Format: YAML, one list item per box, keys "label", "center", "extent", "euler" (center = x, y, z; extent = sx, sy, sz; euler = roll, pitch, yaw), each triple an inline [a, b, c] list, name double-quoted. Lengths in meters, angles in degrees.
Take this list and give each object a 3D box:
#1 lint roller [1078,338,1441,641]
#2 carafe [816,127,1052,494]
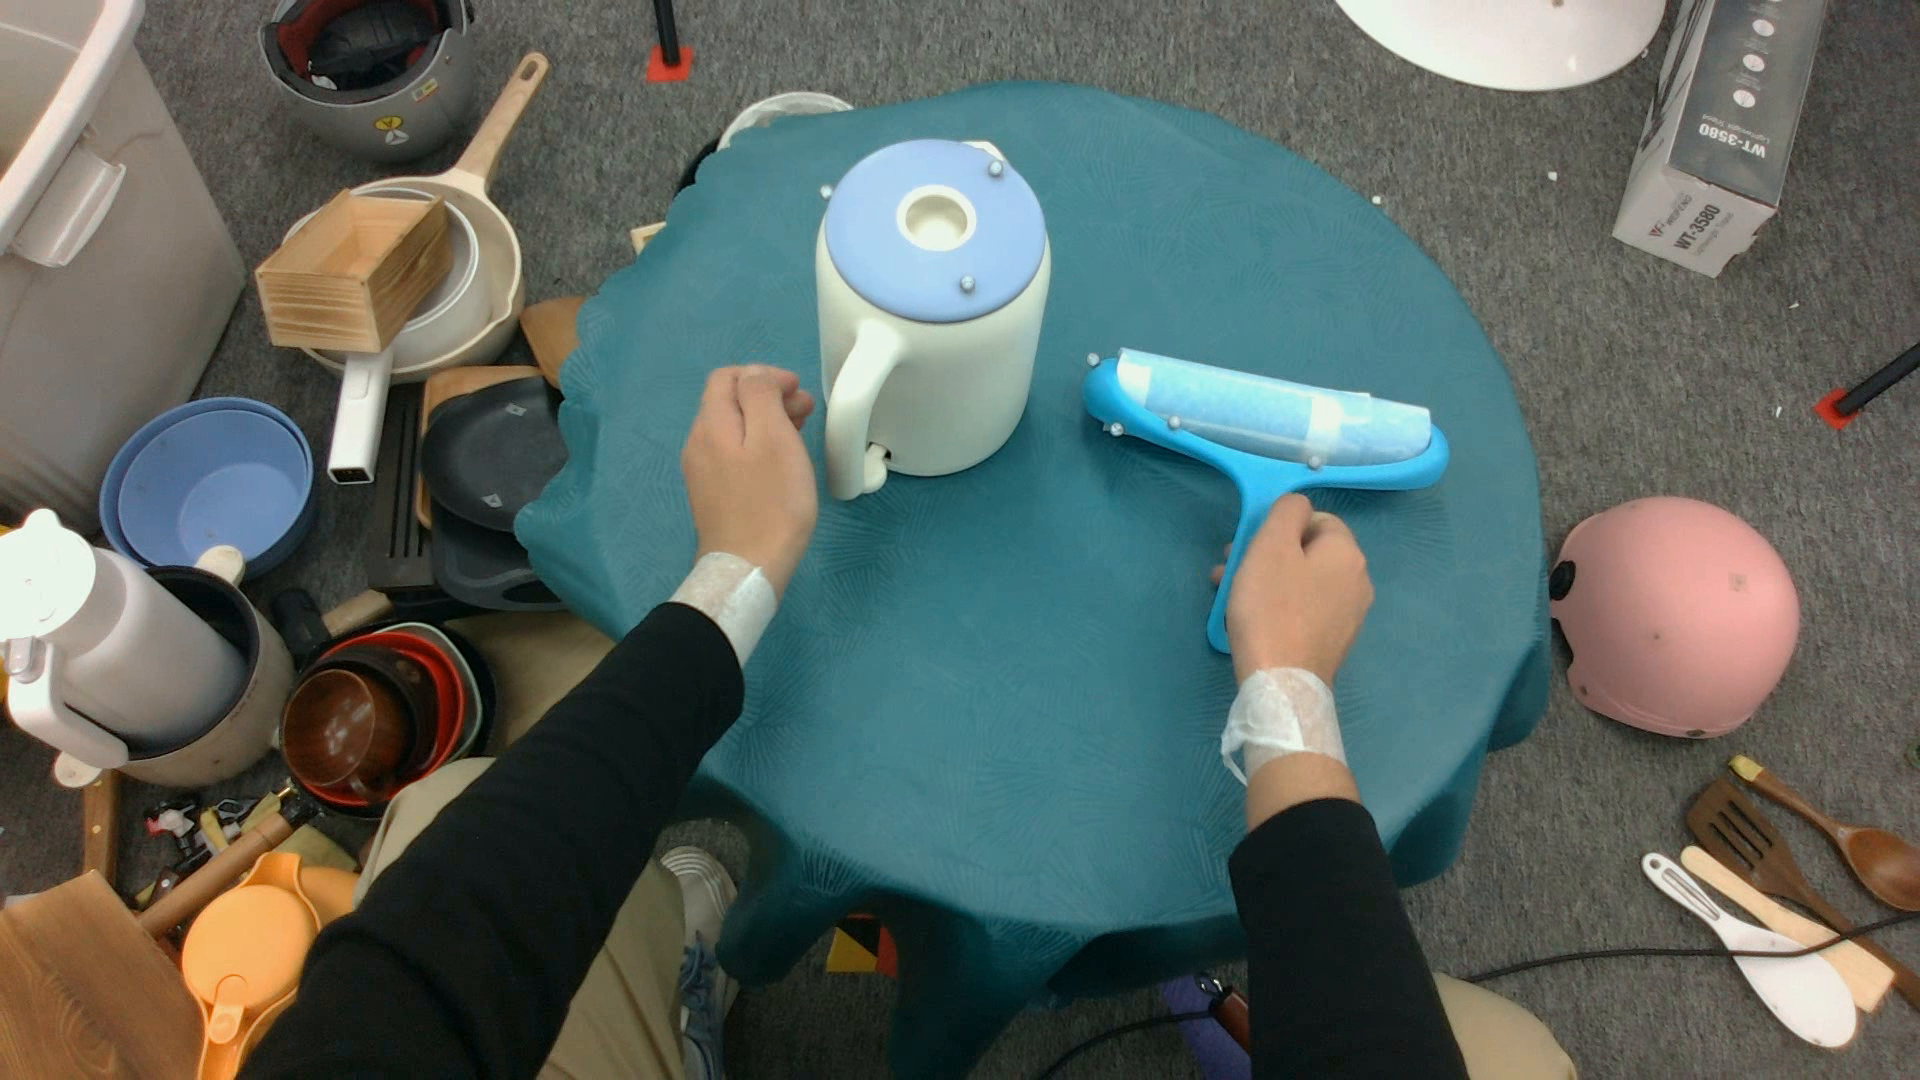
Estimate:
- label: "lint roller"
  center: [0.177, -0.031, 0.832]
  extent: [0.229, 0.067, 0.181]
  euler: [12, 59, -2]
- label: "carafe"
  center: [-0.027, -0.118, 0.796]
  extent: [0.132, 0.182, 0.192]
  euler: [23, 67, 7]
